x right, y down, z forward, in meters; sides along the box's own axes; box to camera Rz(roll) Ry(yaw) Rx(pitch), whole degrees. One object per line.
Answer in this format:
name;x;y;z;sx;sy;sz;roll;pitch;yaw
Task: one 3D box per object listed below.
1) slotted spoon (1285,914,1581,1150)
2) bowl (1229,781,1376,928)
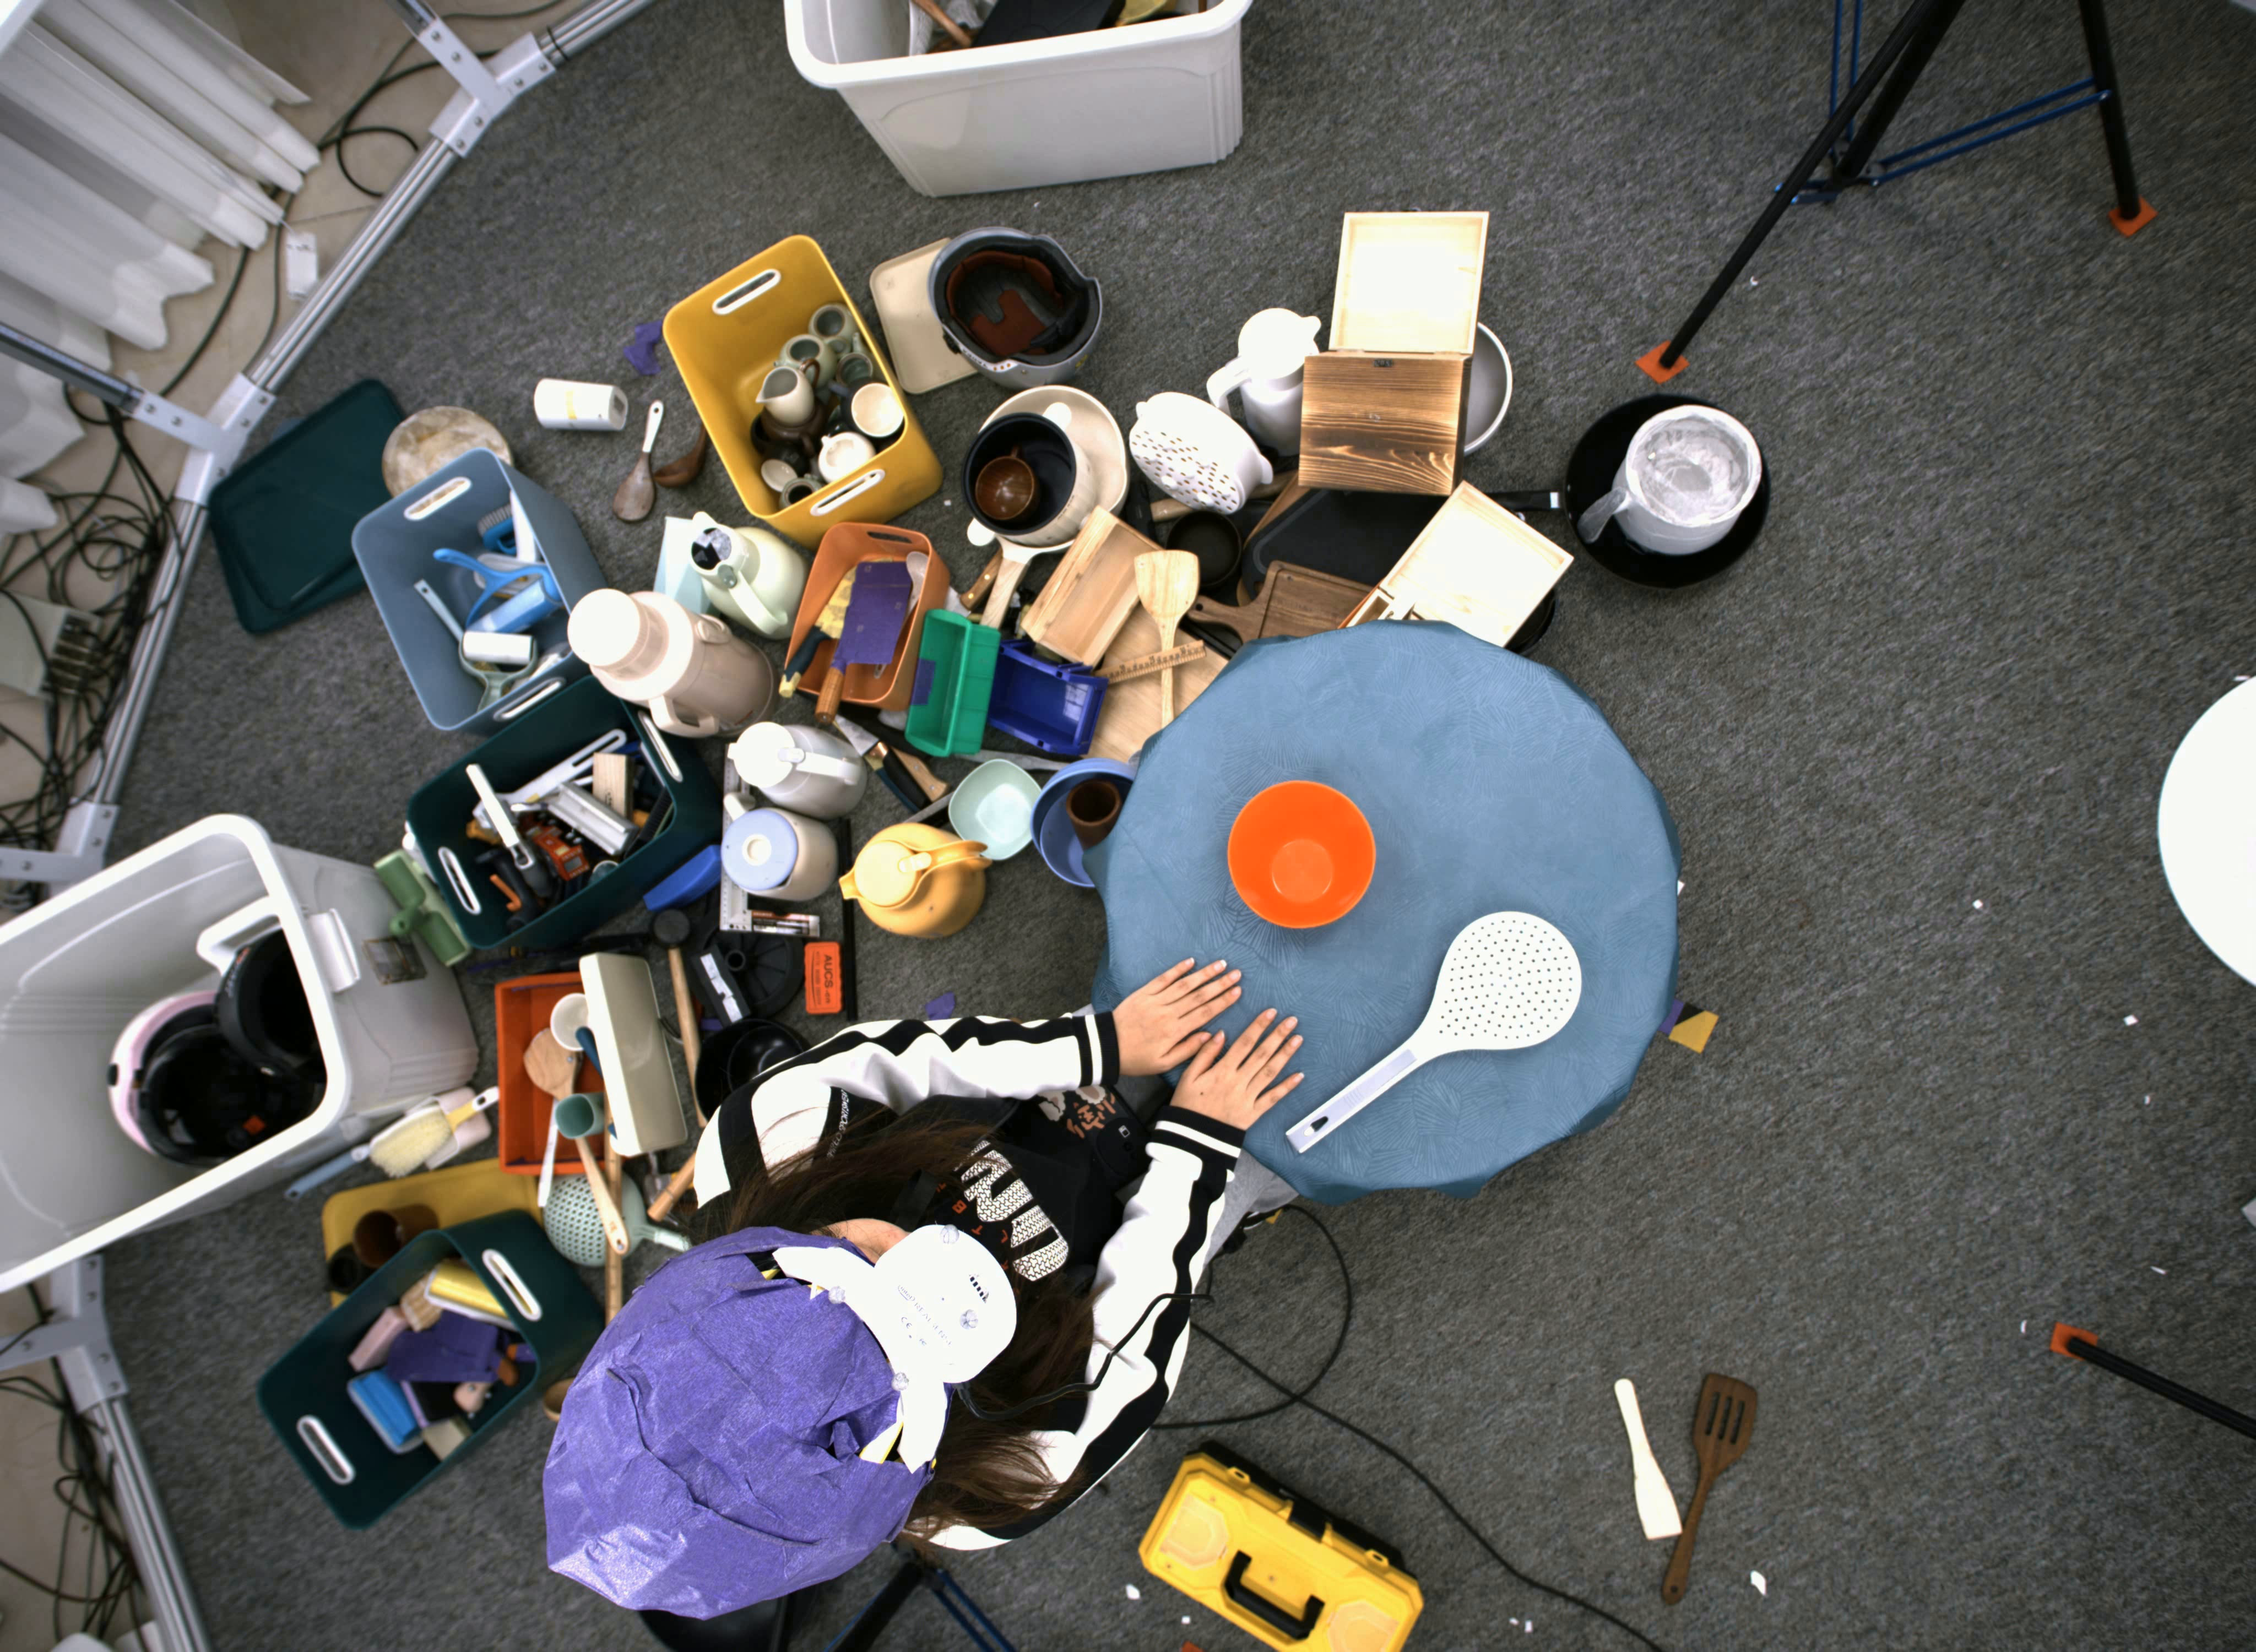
slotted spoon;0.307;0.222;1.422;0.352;0.046;0.135;-38;80;7
bowl;0.180;0.032;1.429;0.148;0.104;0.147;-1;87;9
